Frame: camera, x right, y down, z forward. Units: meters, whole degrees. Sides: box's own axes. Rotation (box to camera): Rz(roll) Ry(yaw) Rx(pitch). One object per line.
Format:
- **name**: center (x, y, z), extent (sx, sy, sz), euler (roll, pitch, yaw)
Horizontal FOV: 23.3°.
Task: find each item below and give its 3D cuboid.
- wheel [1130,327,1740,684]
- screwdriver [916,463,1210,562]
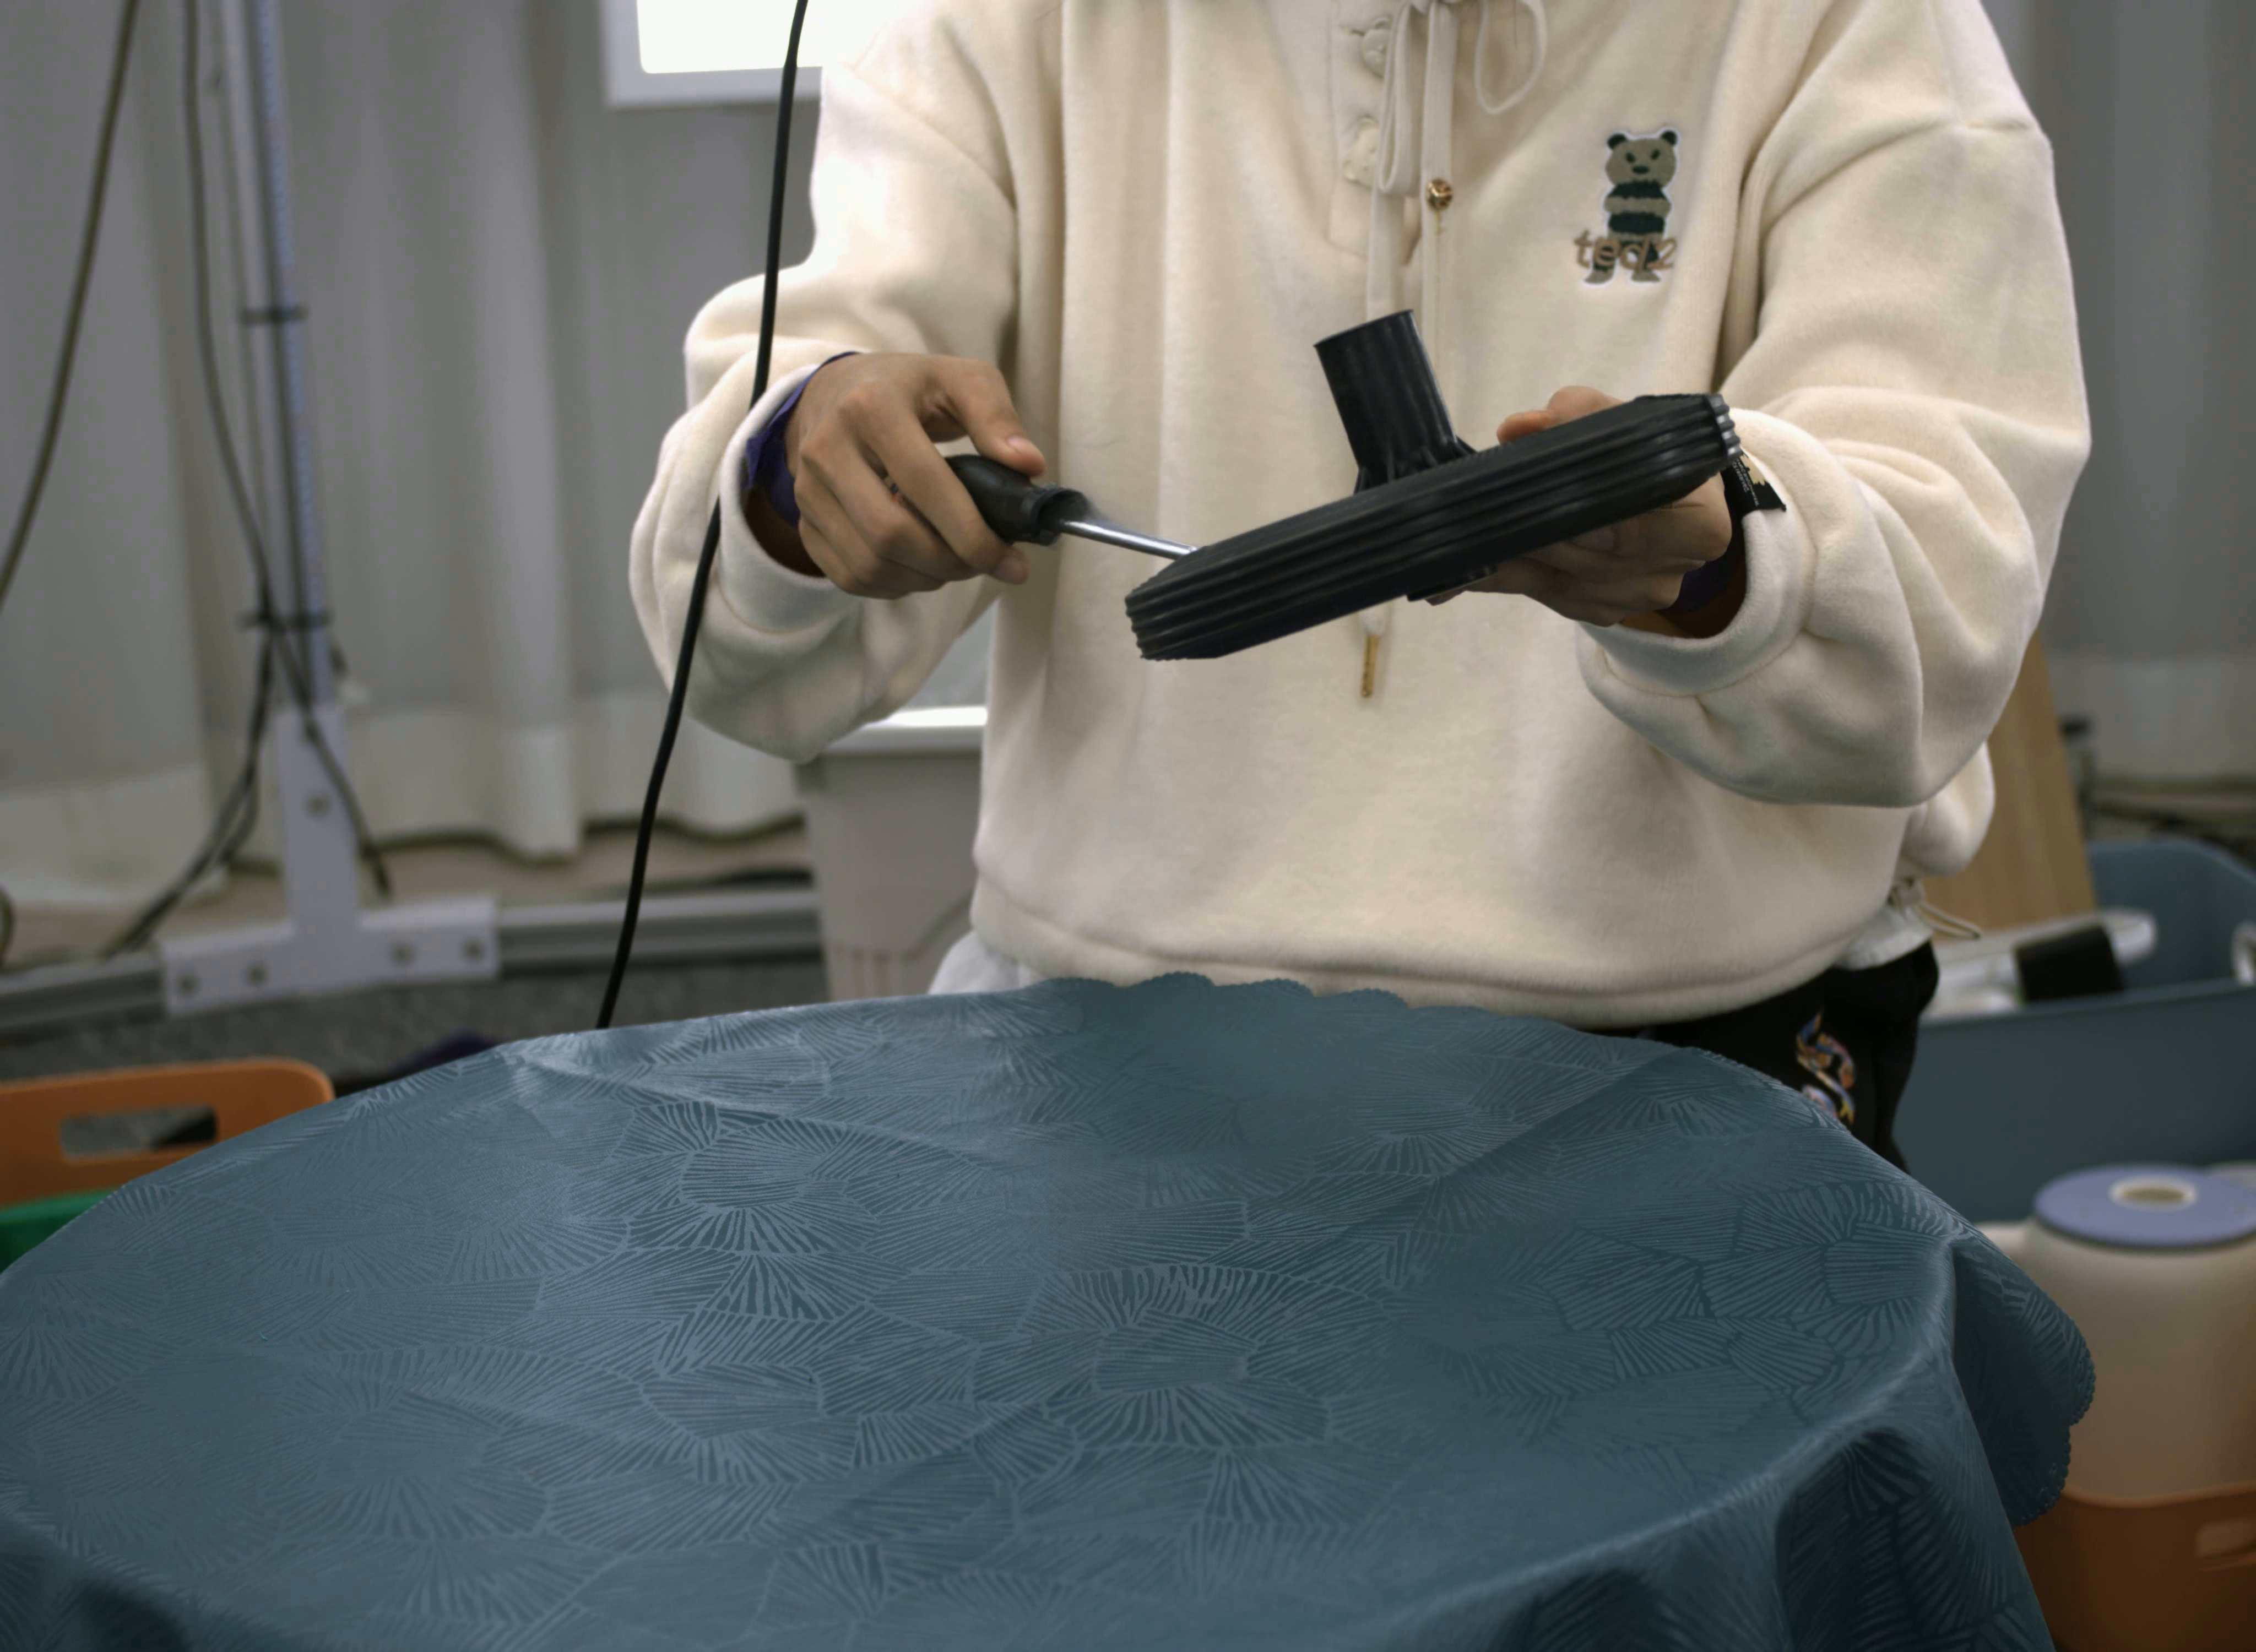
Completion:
- **wheel**: center (0.082, -0.104, 1.614), extent (0.189, 0.079, 0.187), euler (-23, 3, -28)
- **screwdriver**: center (-0.019, -0.100, 1.757), extent (0.031, 0.031, 0.197), euler (-10, 9, -26)
